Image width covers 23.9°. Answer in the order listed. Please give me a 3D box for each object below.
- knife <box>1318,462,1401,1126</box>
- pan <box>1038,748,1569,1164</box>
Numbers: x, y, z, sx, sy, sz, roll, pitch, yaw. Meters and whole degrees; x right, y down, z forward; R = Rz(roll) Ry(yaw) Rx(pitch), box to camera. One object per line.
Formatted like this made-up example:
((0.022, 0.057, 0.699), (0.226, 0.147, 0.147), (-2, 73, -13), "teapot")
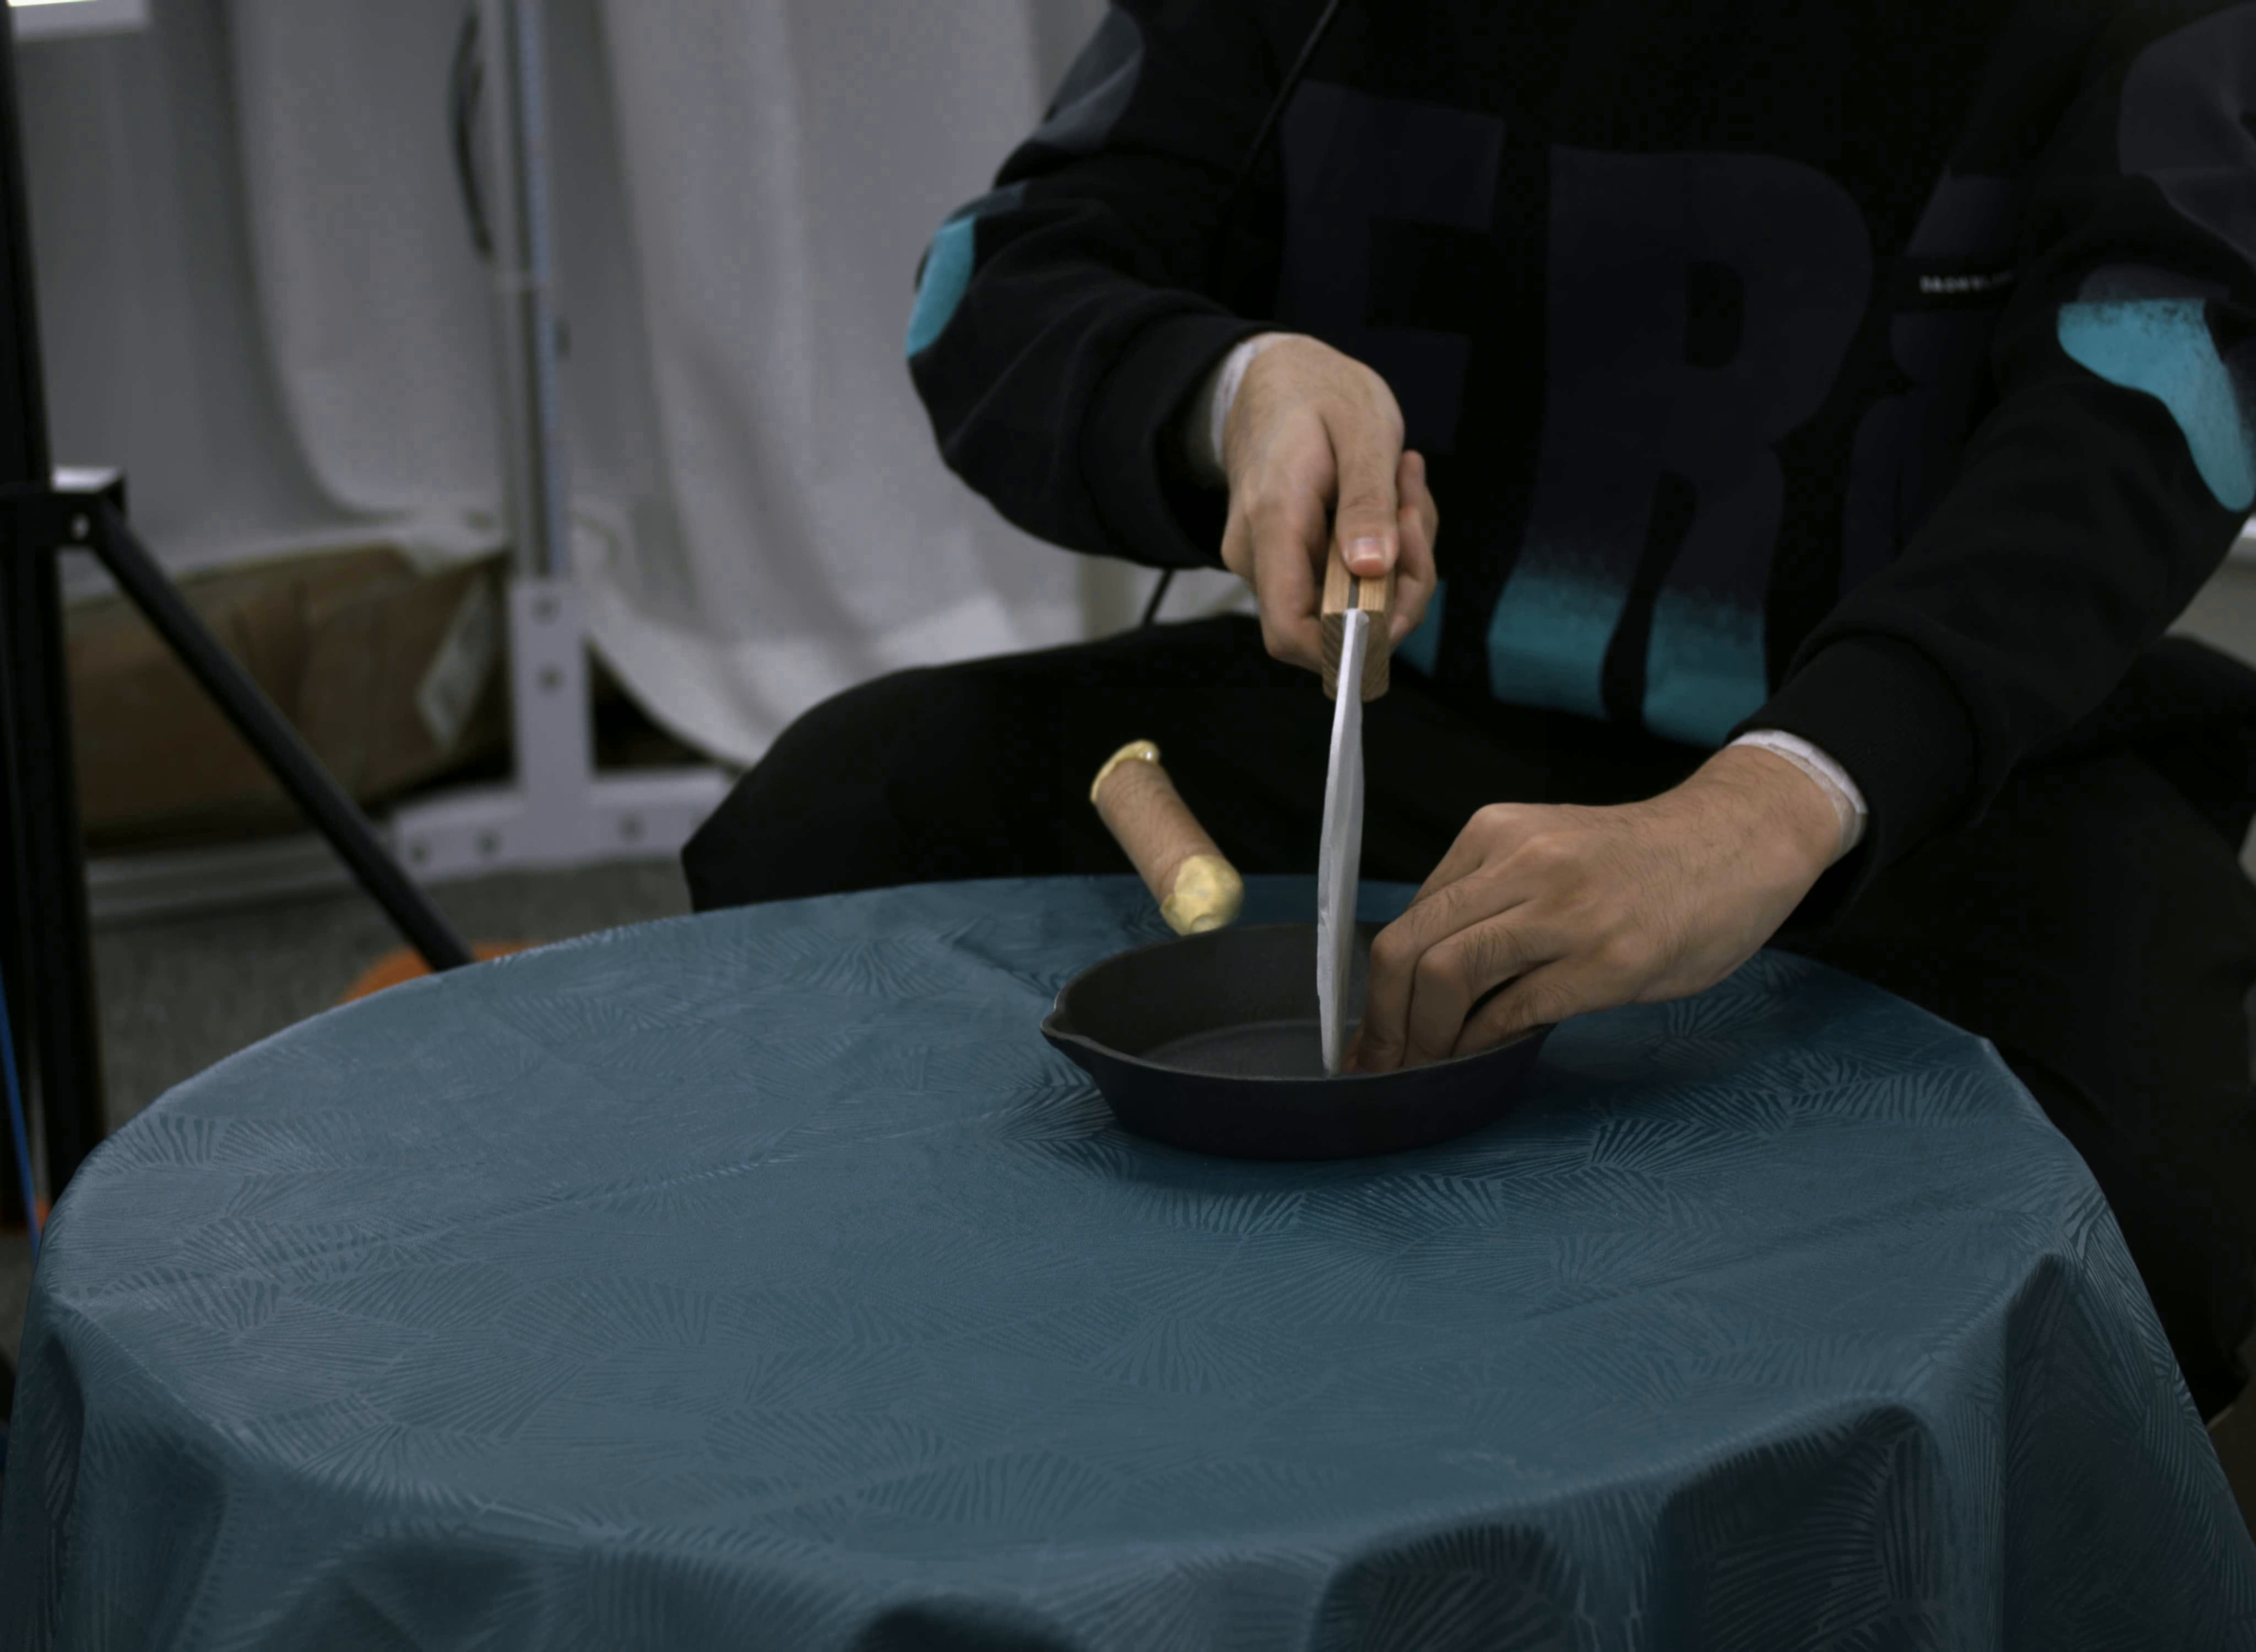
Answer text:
((0.070, -0.028, 1.684), (0.022, 0.113, 0.317), (0, 33, 5), "knife")
((0.035, 0.039, 1.707), (0.166, 0.049, 0.328), (-6, 17, -12), "pan")
